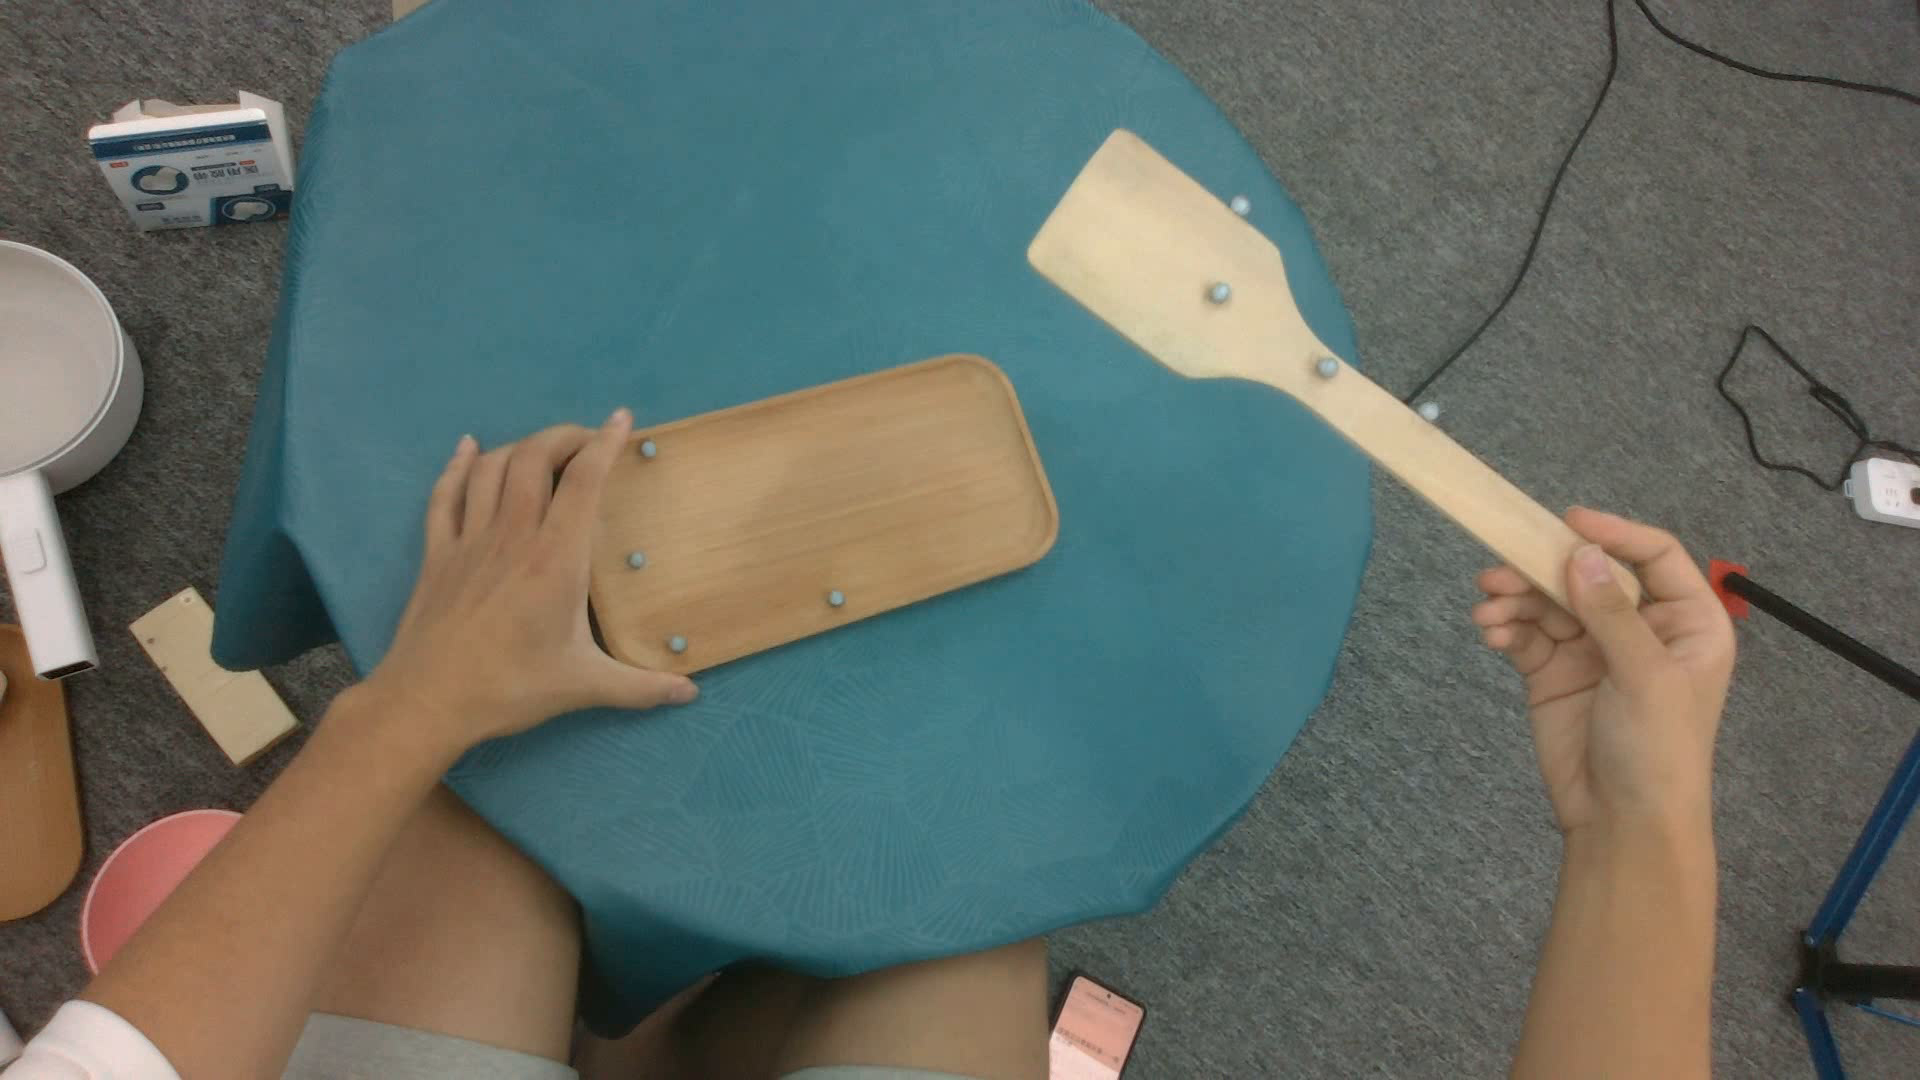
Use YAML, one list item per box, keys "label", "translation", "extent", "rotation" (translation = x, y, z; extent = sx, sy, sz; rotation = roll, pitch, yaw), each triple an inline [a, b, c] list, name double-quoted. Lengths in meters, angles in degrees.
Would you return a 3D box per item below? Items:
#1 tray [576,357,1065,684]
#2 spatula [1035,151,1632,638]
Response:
- label: "tray"
  translation: [-0.070, -0.015, 0.737]
  extent: [0.251, 0.023, 0.130]
  rotation: [-16, 82, -20]
- label: "spatula"
  translation: [0.166, -0.052, 0.578]
  extent: [0.293, 0.010, 0.072]
  rotation: [36, 80, -4]
